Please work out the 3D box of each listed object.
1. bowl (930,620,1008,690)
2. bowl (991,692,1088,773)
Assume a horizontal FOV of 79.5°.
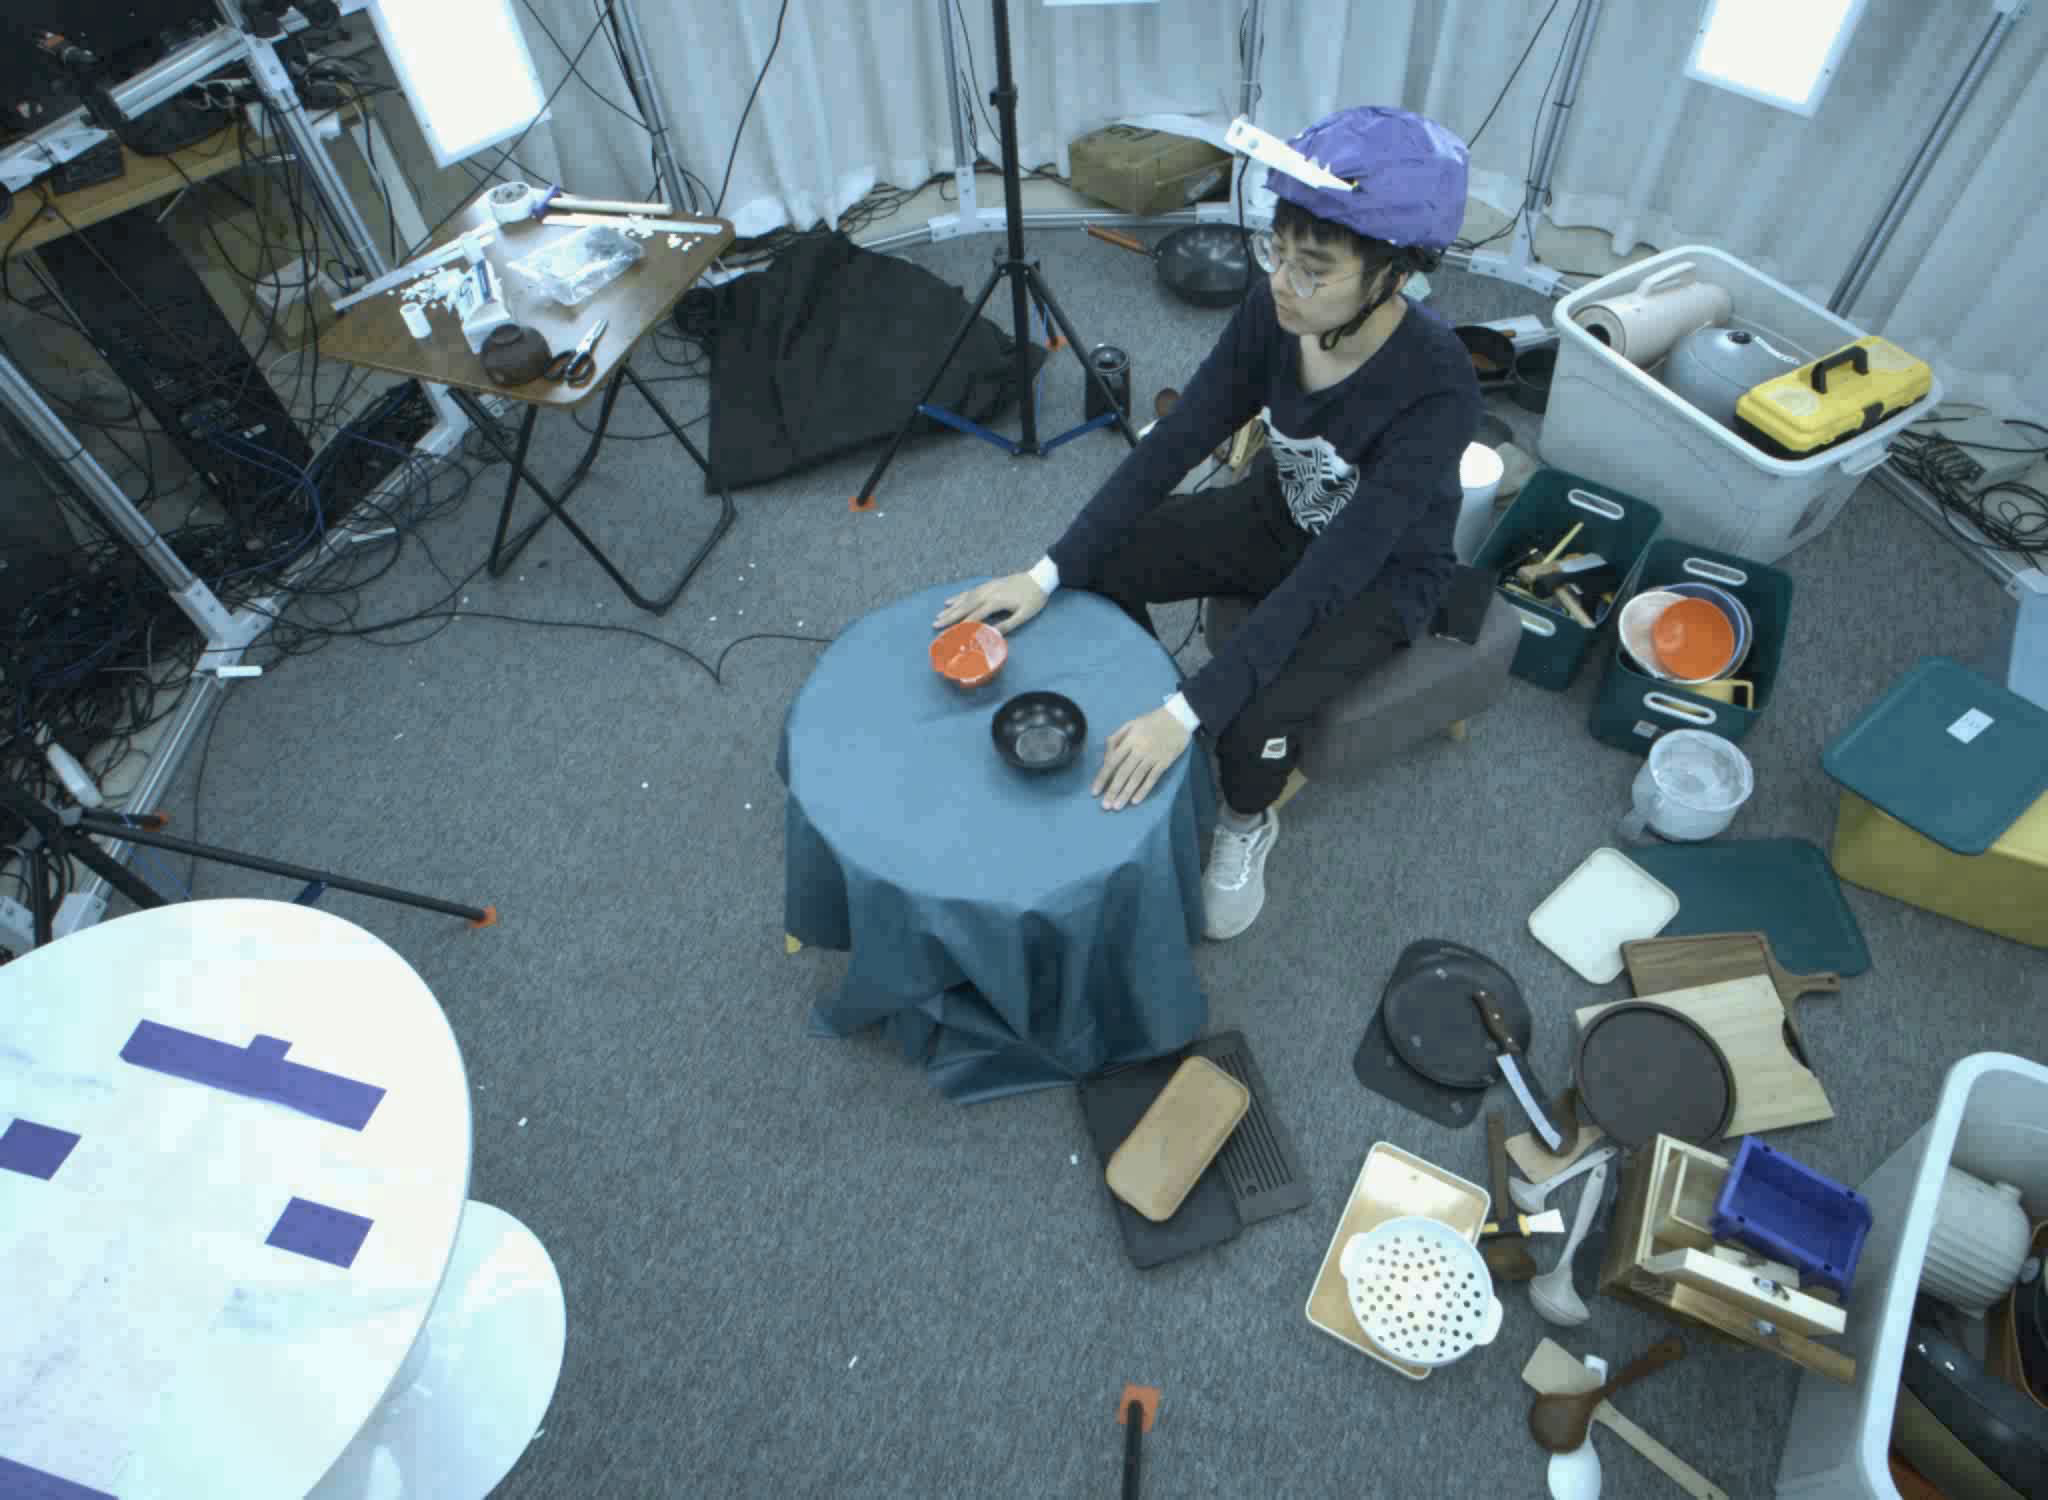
[{"bbox_3d":[-0.081,-0.137,1.862,0.119,0.052,0.118,-2,55,3],"label":"bowl"},{"bbox_3d":[0.022,-0.017,1.780,0.140,0.050,0.138,2,51,-1],"label":"bowl"}]
